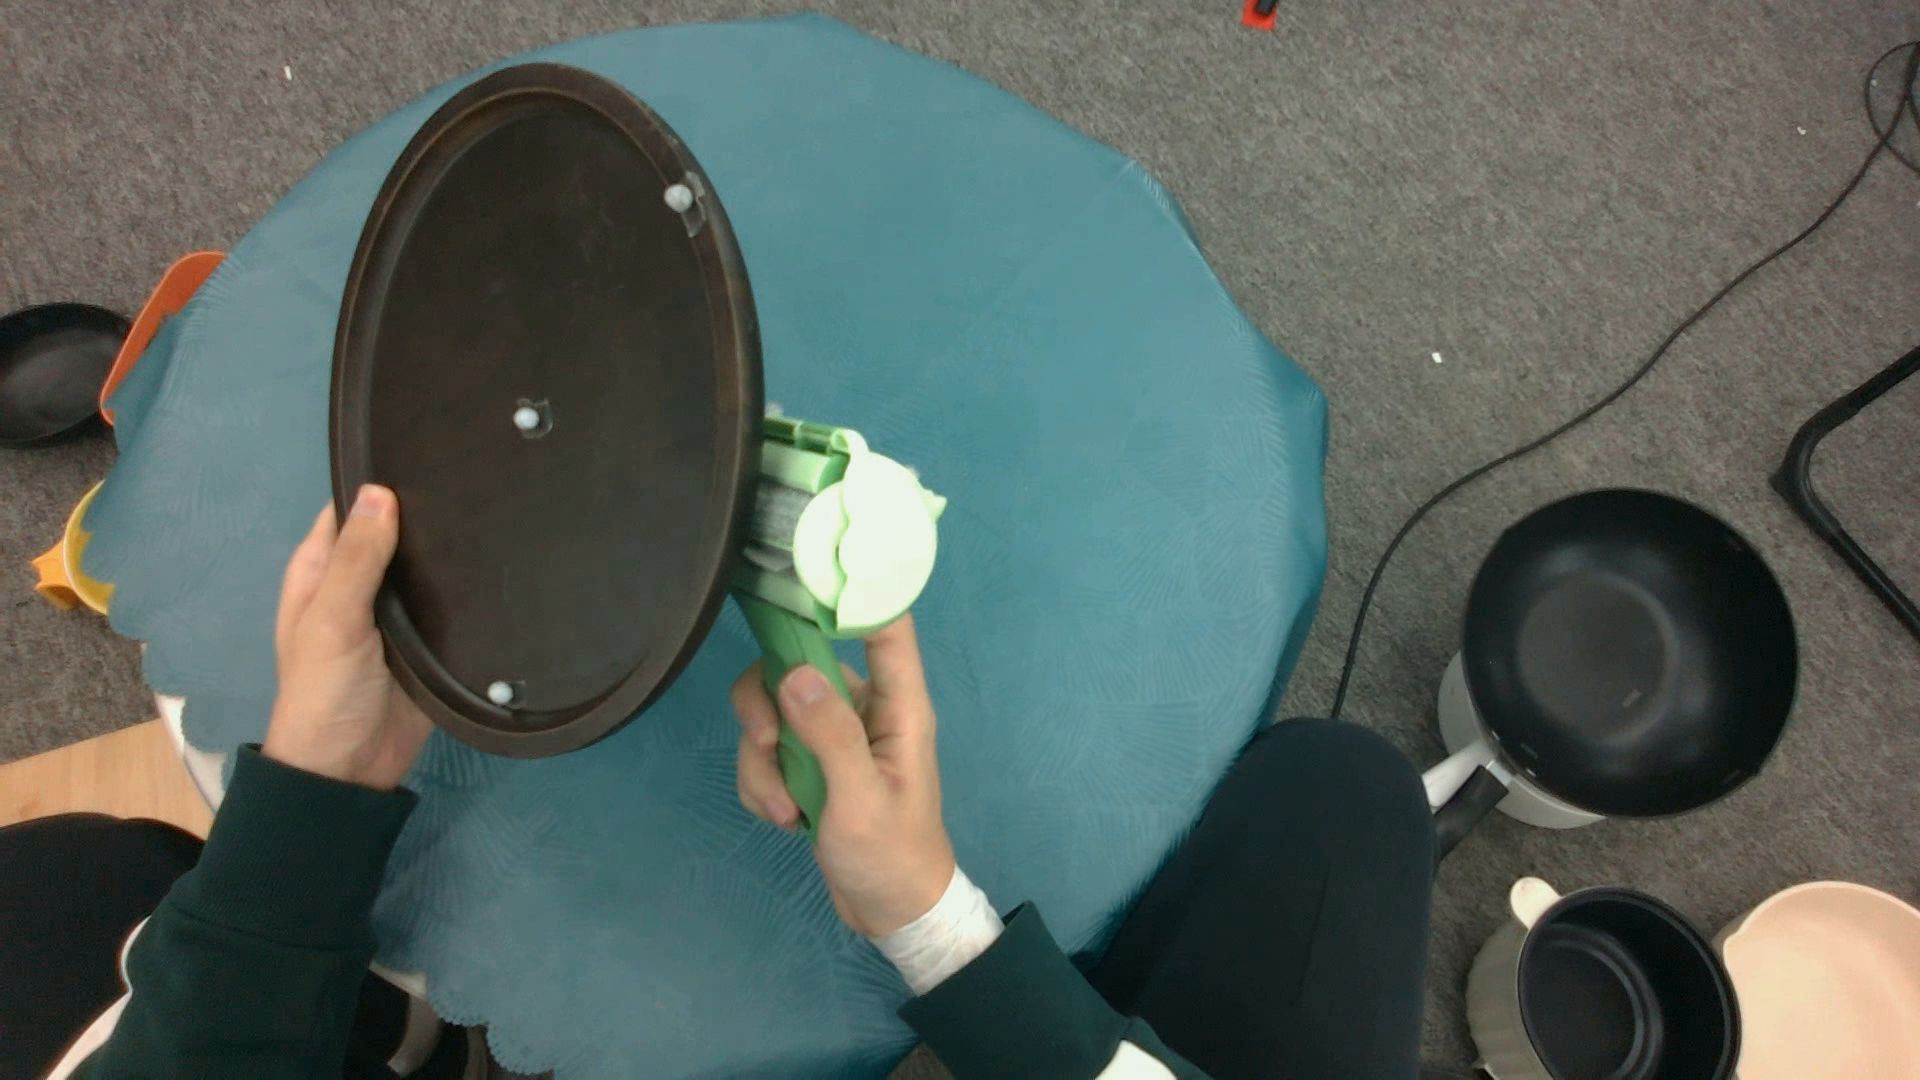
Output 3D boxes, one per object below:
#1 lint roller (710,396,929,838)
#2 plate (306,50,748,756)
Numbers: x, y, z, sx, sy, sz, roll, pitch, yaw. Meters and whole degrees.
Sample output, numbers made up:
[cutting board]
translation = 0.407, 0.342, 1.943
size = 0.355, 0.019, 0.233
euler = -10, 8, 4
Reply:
[lint roller]
translation = -0.061, 0.026, 0.540
size = 0.082, 0.198, 0.183
euler = -33, 115, -26
[plate]
translation = -0.169, -0.049, 0.510
size = 0.029, 0.253, 0.255
euler = -1, 58, -55
